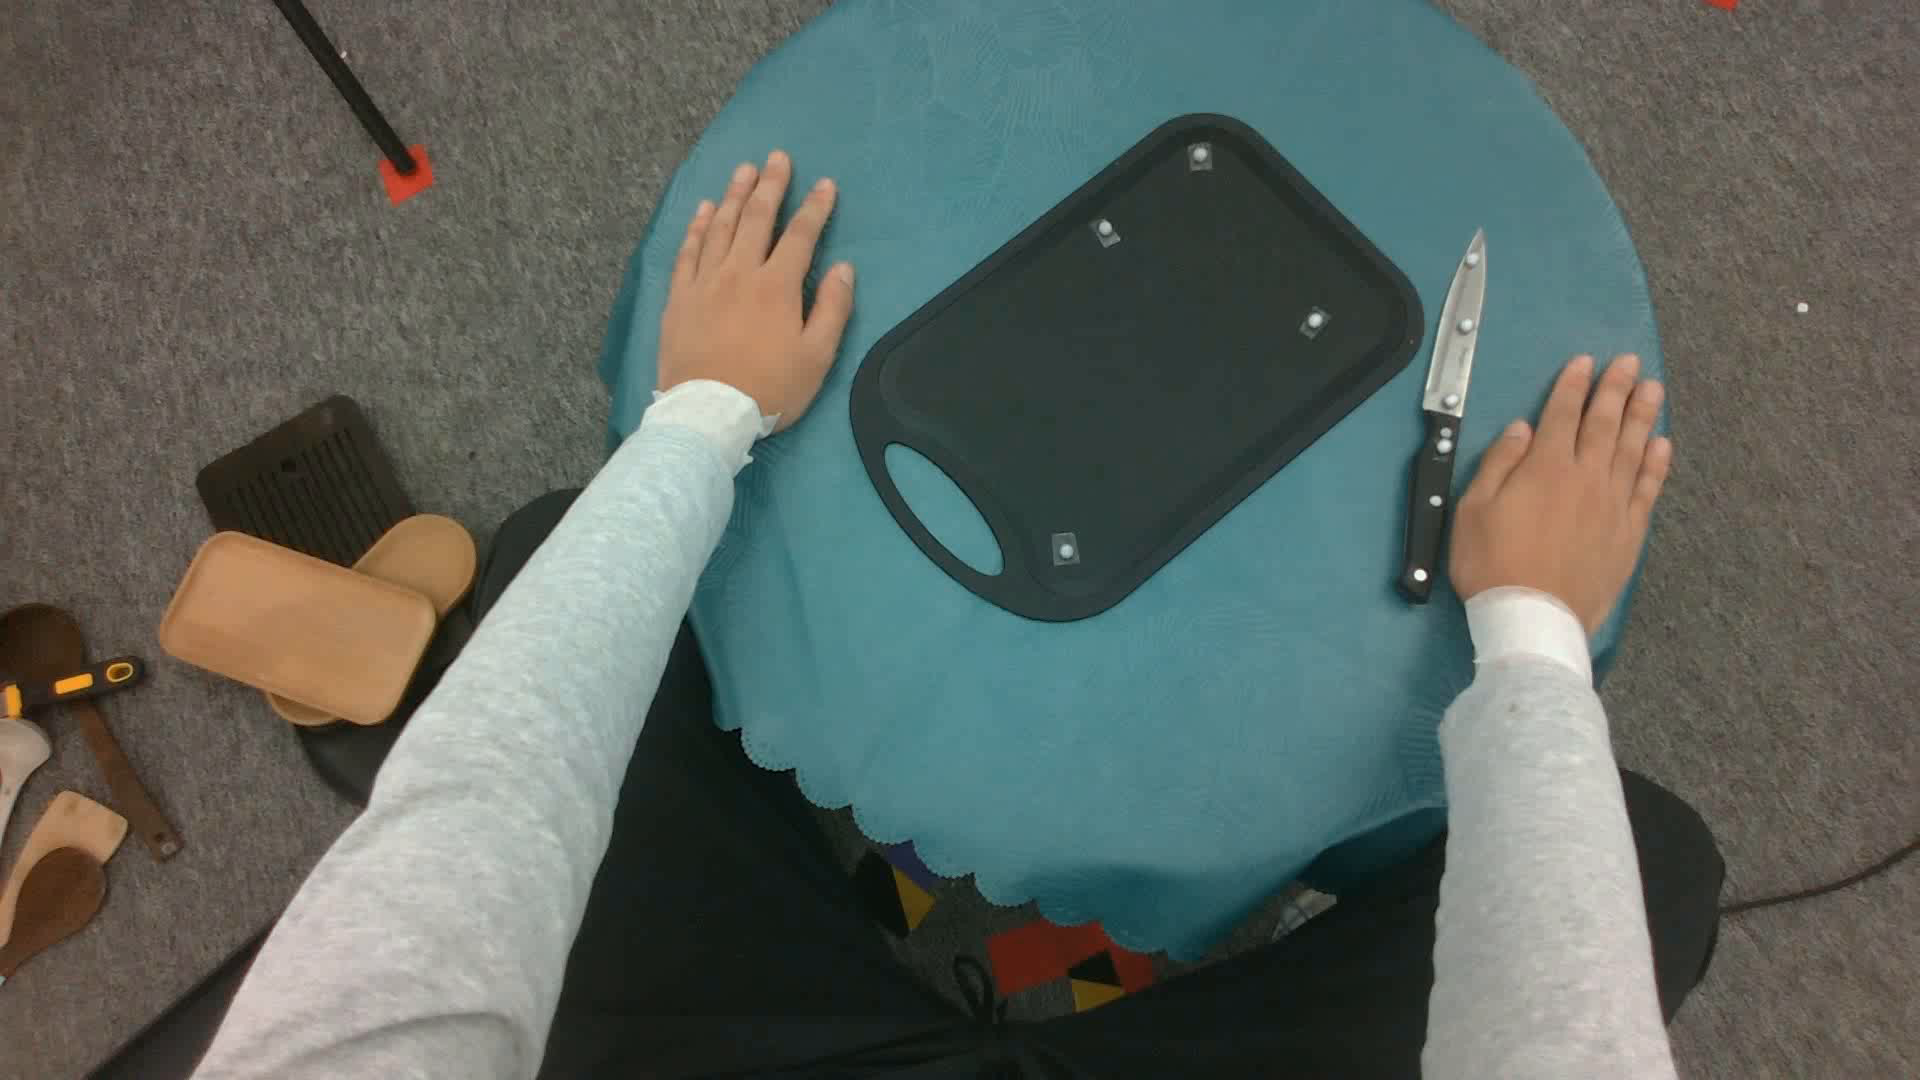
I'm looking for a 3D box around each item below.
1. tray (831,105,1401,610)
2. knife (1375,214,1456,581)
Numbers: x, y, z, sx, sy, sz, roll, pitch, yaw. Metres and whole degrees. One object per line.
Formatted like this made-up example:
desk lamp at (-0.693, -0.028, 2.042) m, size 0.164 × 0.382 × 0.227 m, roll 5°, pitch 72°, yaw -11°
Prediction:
tray at (0.086, -0.109, 0.794) m, size 0.326 × 0.010 × 0.211 m, roll -38°, pitch 76°, yaw -11°
knife at (0.265, -0.086, 0.784) m, size 0.024 × 0.016 × 0.239 m, roll 15°, pitch 71°, yaw 2°
